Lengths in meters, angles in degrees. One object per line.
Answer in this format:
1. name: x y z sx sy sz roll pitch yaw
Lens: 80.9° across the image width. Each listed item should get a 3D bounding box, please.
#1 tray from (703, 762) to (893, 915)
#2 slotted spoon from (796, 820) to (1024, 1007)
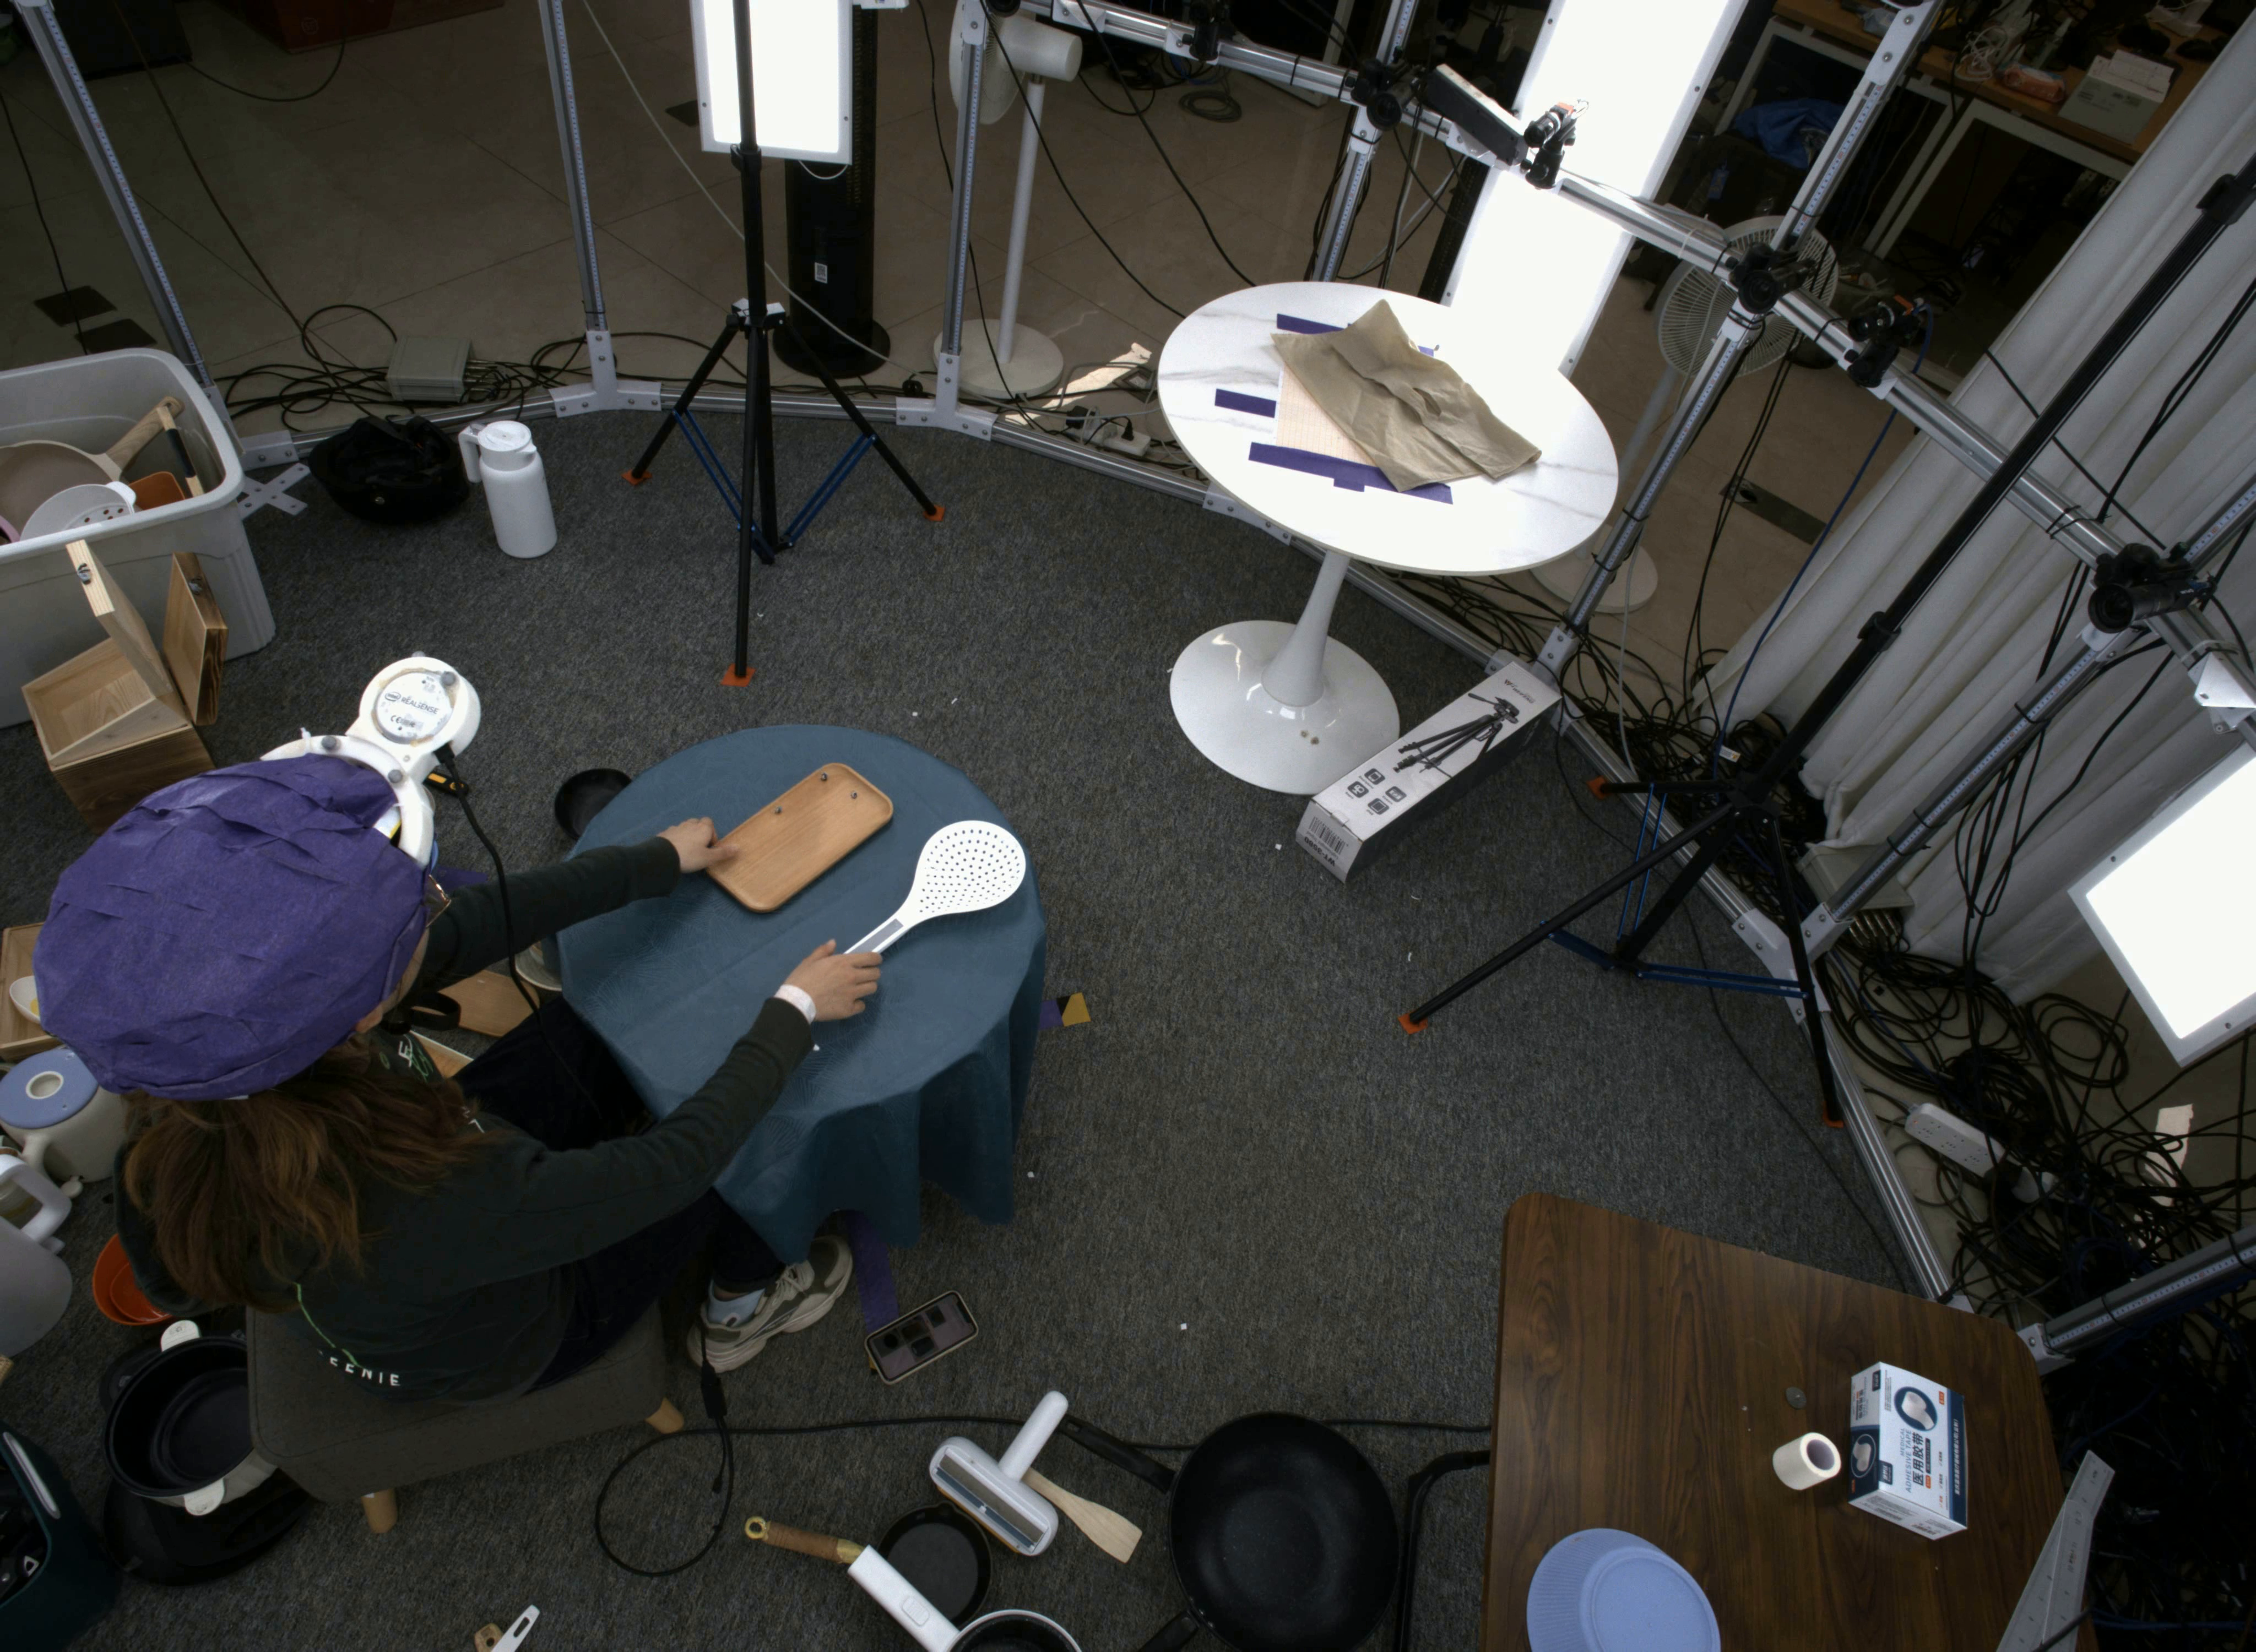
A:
1. tray: -0.432 0.013 1.707 0.127 0.023 0.251 36 54 16
2. slotted spoon: -0.277 0.112 1.654 0.133 0.047 0.350 40 55 19
